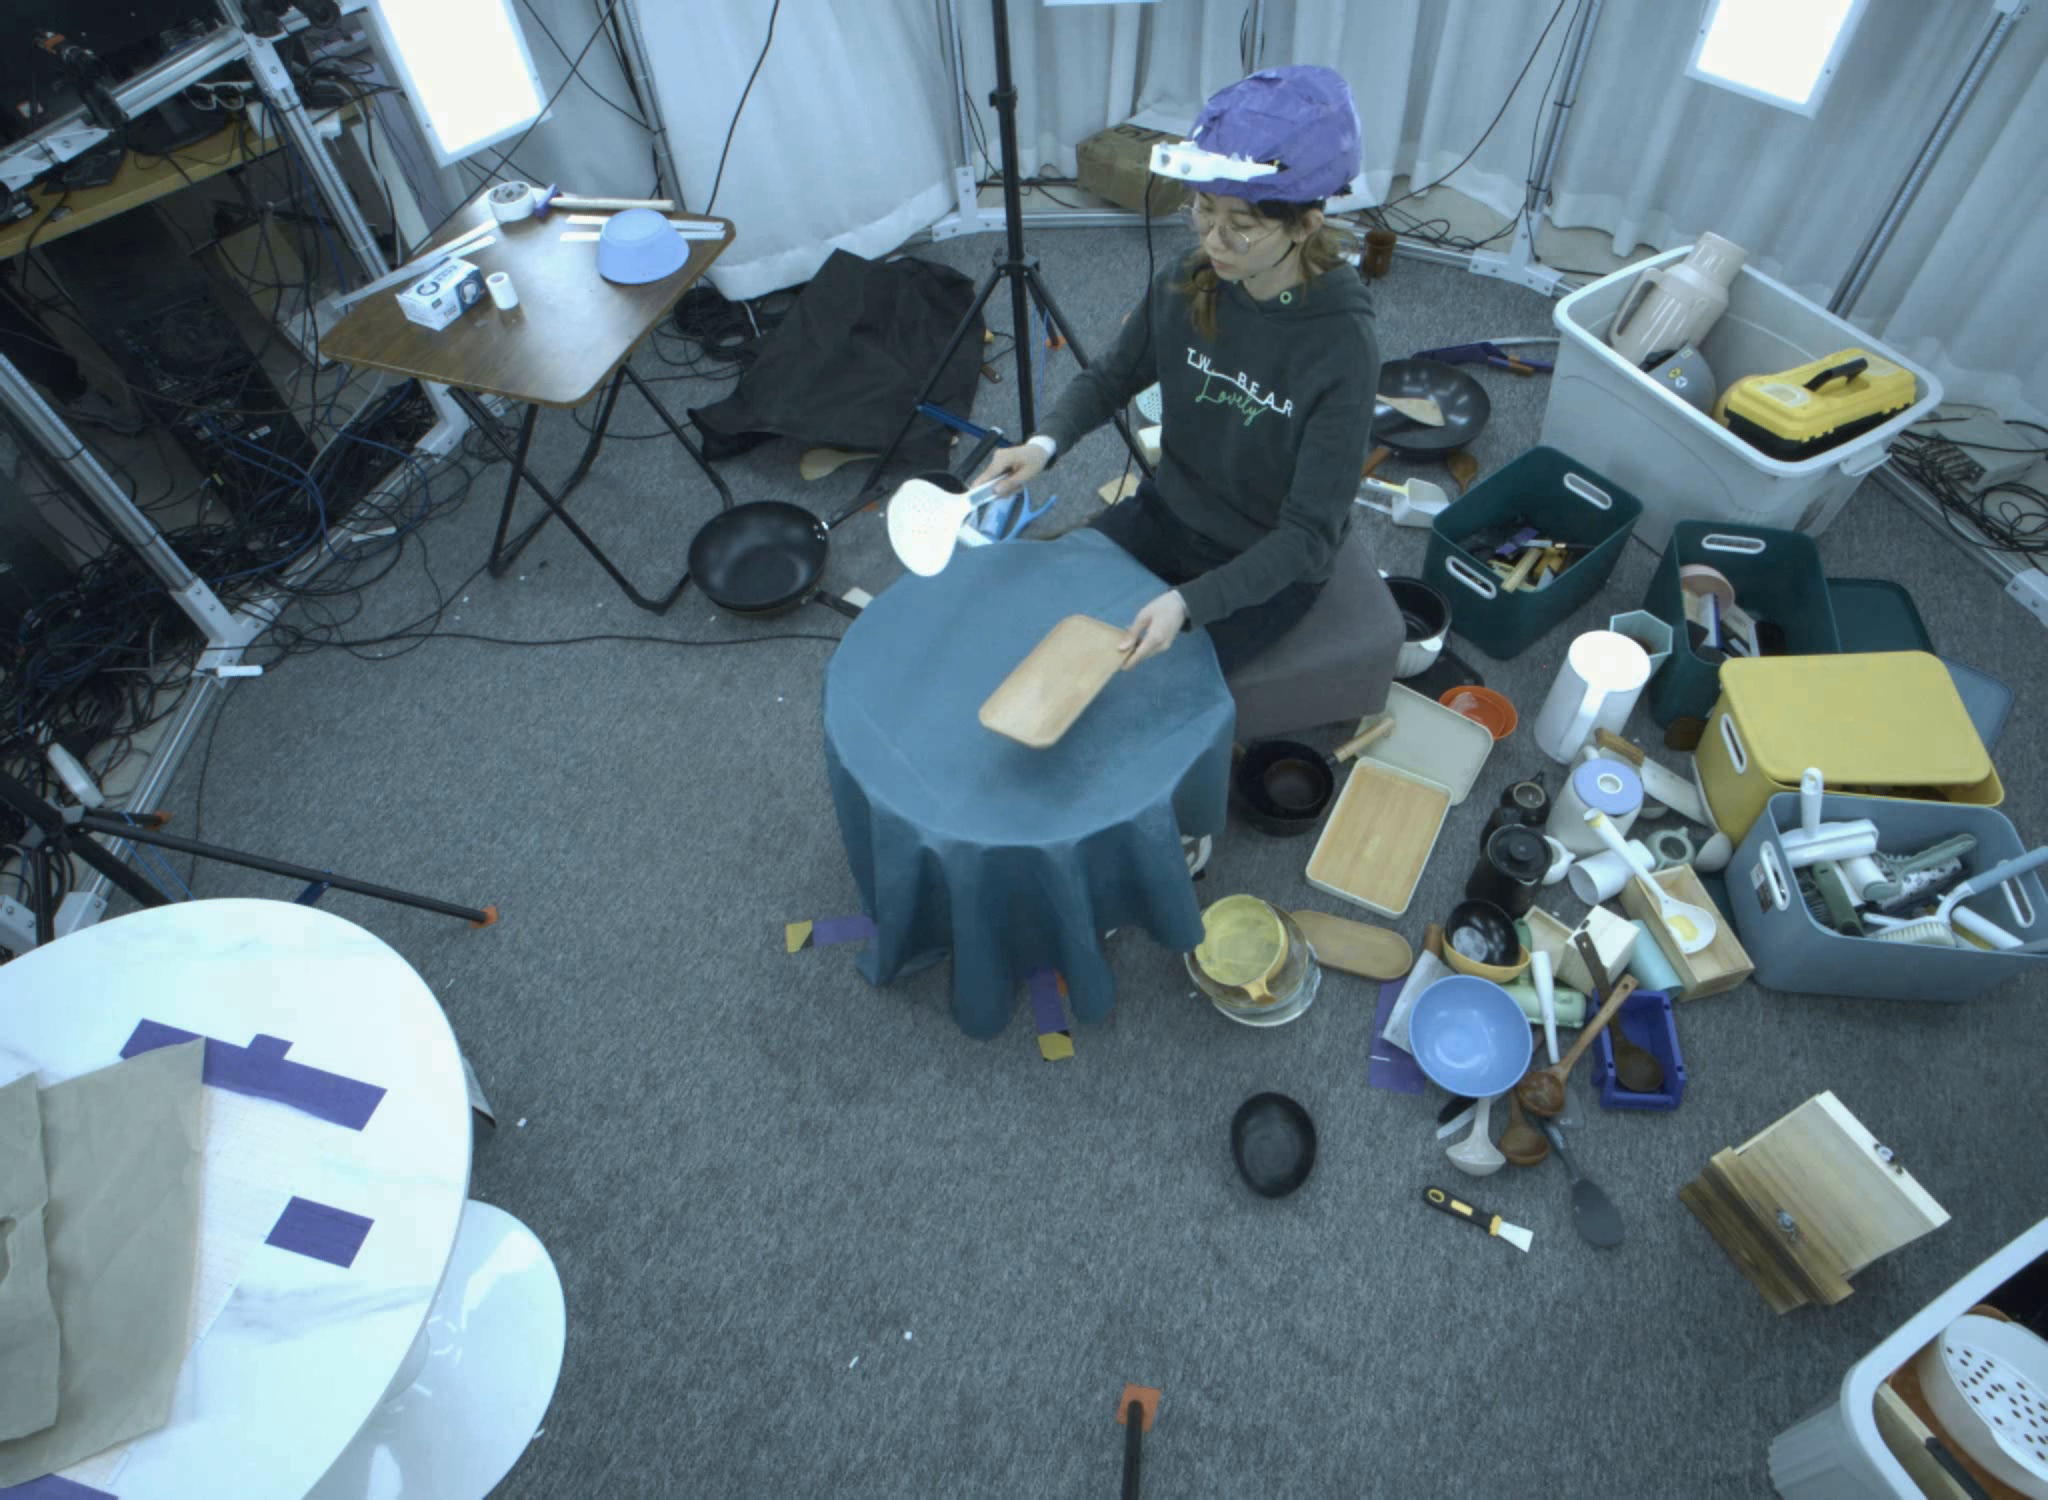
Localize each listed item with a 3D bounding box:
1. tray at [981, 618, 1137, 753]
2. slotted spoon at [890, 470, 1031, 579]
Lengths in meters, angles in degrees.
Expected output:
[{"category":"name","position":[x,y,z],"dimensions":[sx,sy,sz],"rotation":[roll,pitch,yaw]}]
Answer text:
[{"category":"tray","position":[0.052,-0.094,1.747],"dimensions":[0.128,0.023,0.252],"rotation":[26,56,24]},{"category":"slotted spoon","position":[-0.090,-0.358,1.815],"dimensions":[0.045,0.137,0.353],"rotation":[1,27,40]}]
